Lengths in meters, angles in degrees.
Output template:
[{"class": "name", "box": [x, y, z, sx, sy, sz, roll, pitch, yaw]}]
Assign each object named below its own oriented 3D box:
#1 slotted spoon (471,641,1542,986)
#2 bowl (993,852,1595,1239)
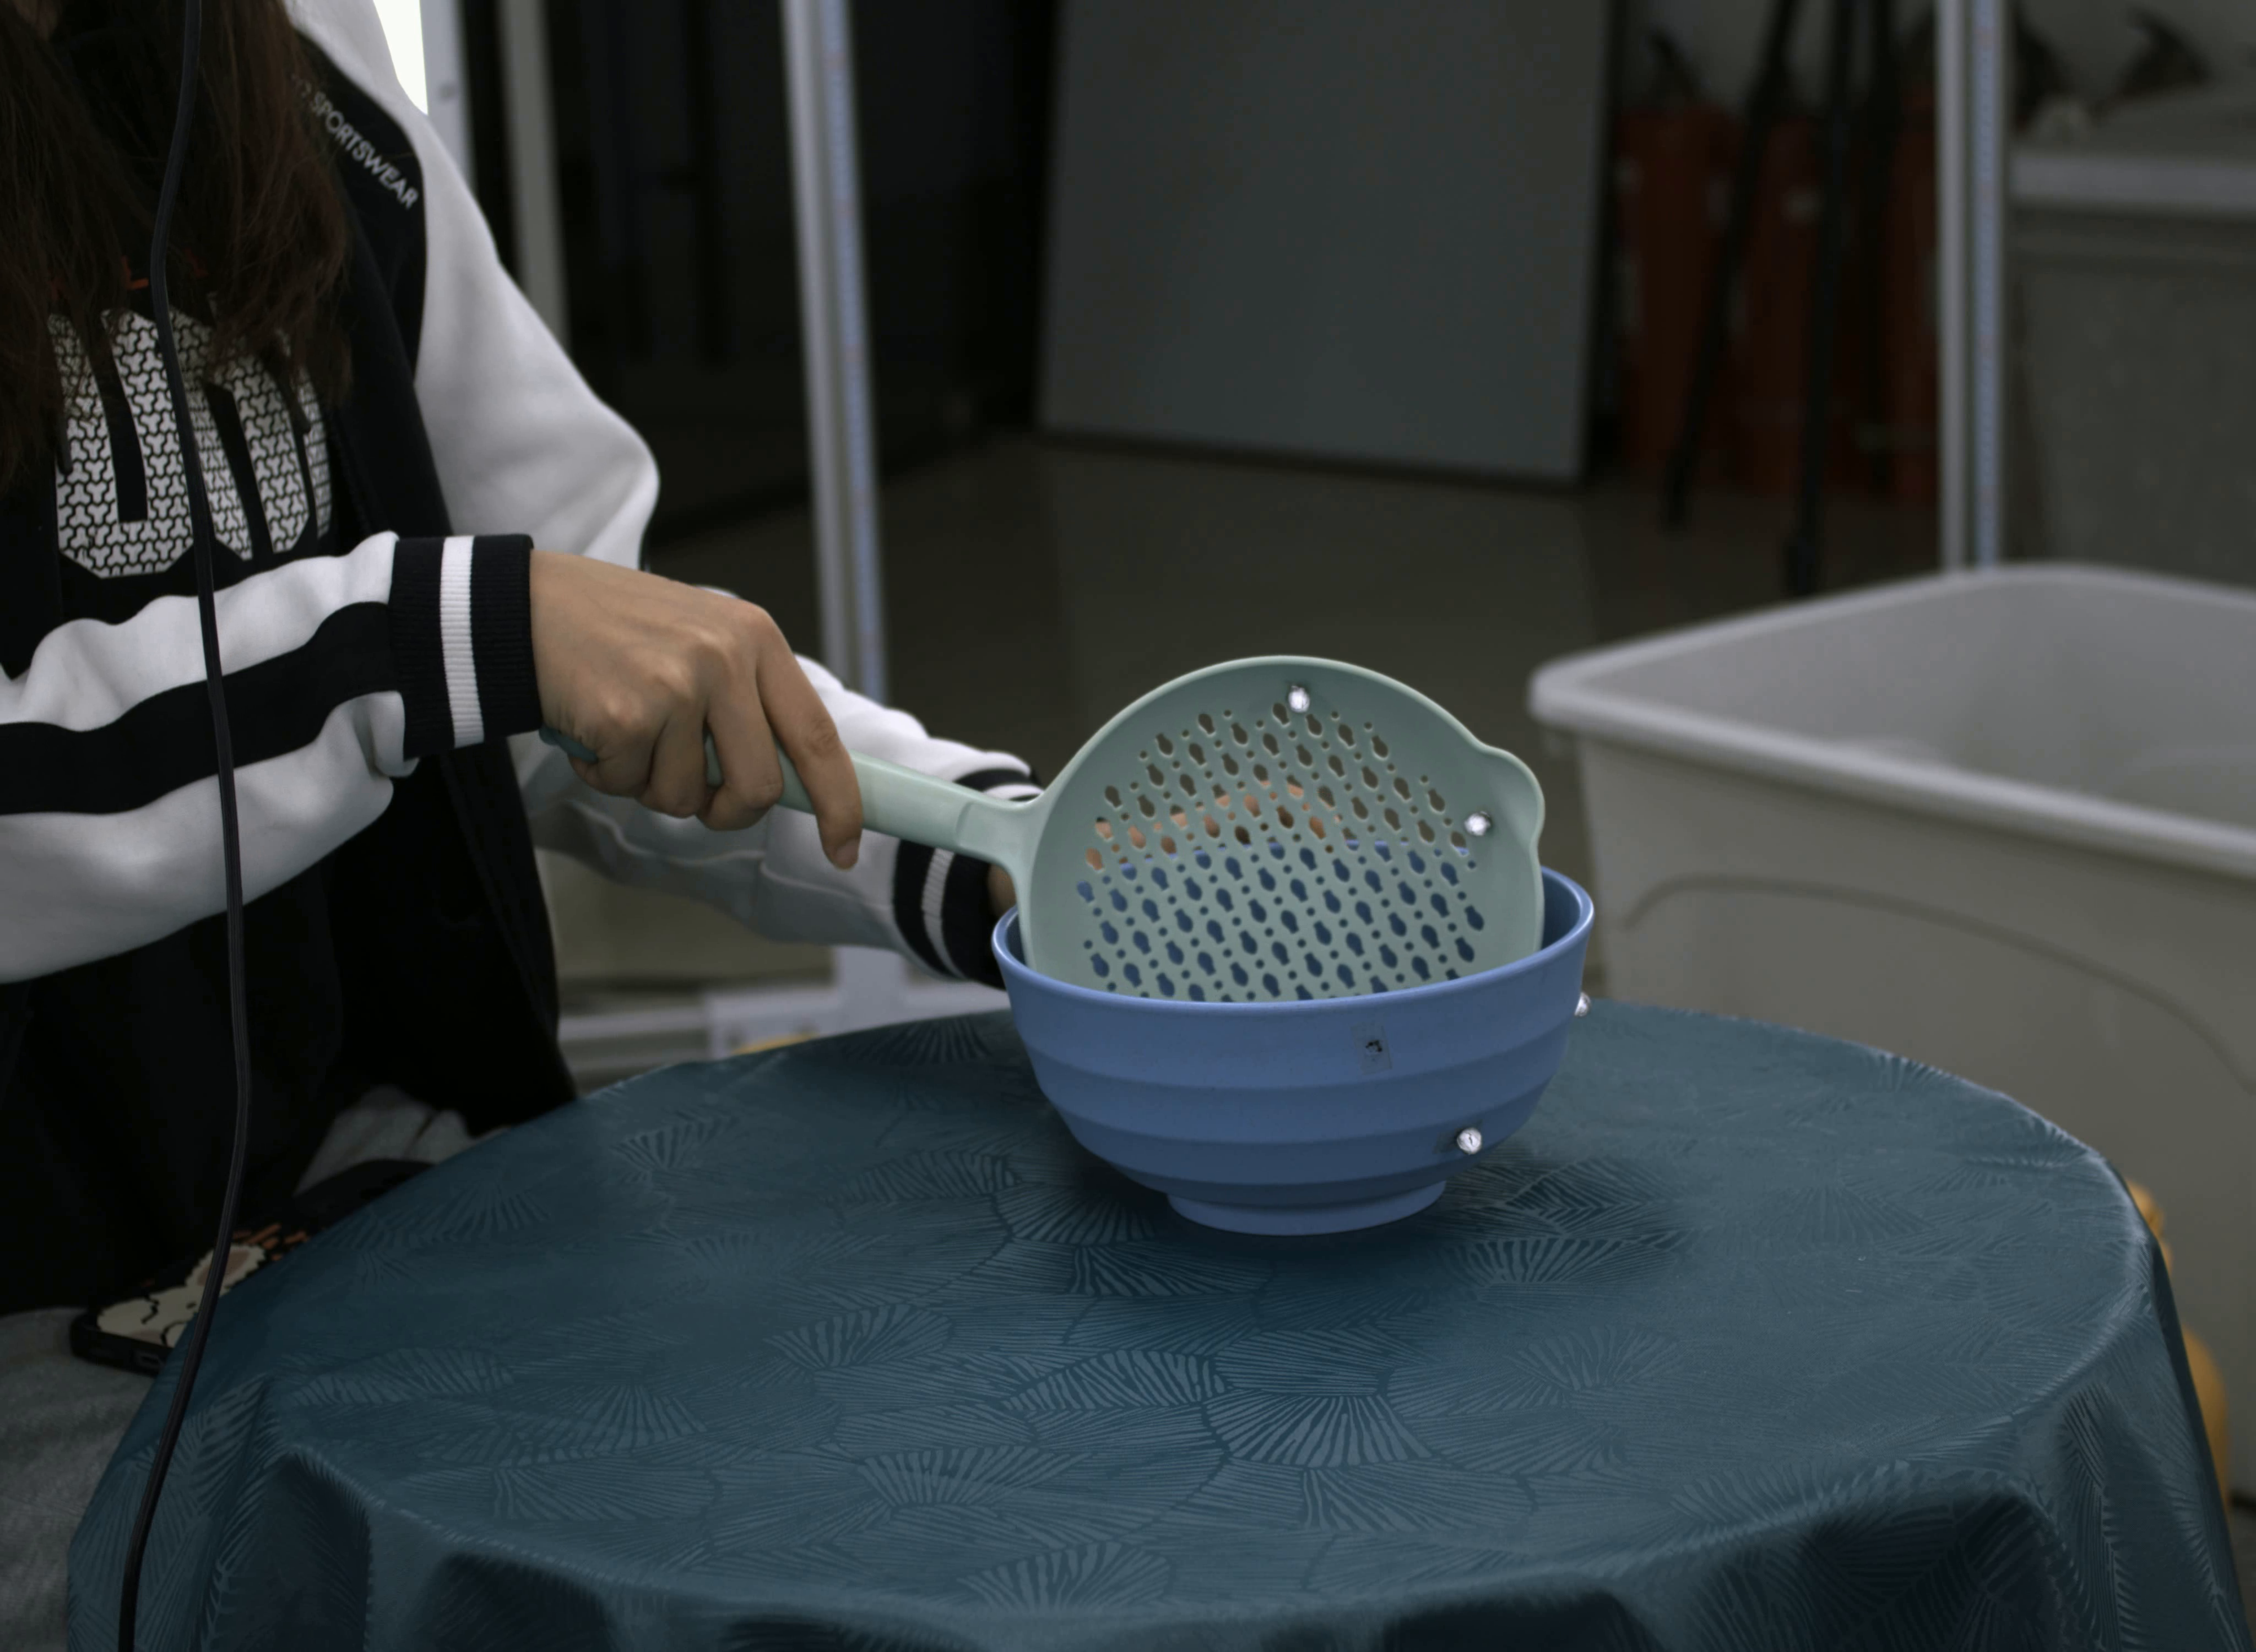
[{"class": "slotted spoon", "box": [-0.042, -0.001, 1.757, 0.353, 0.171, 0.075, 16, 3, -6]}, {"class": "bowl", "box": [0.056, 0.074, 1.745, 0.194, 0.096, 0.197, -4, 14, 0]}]
